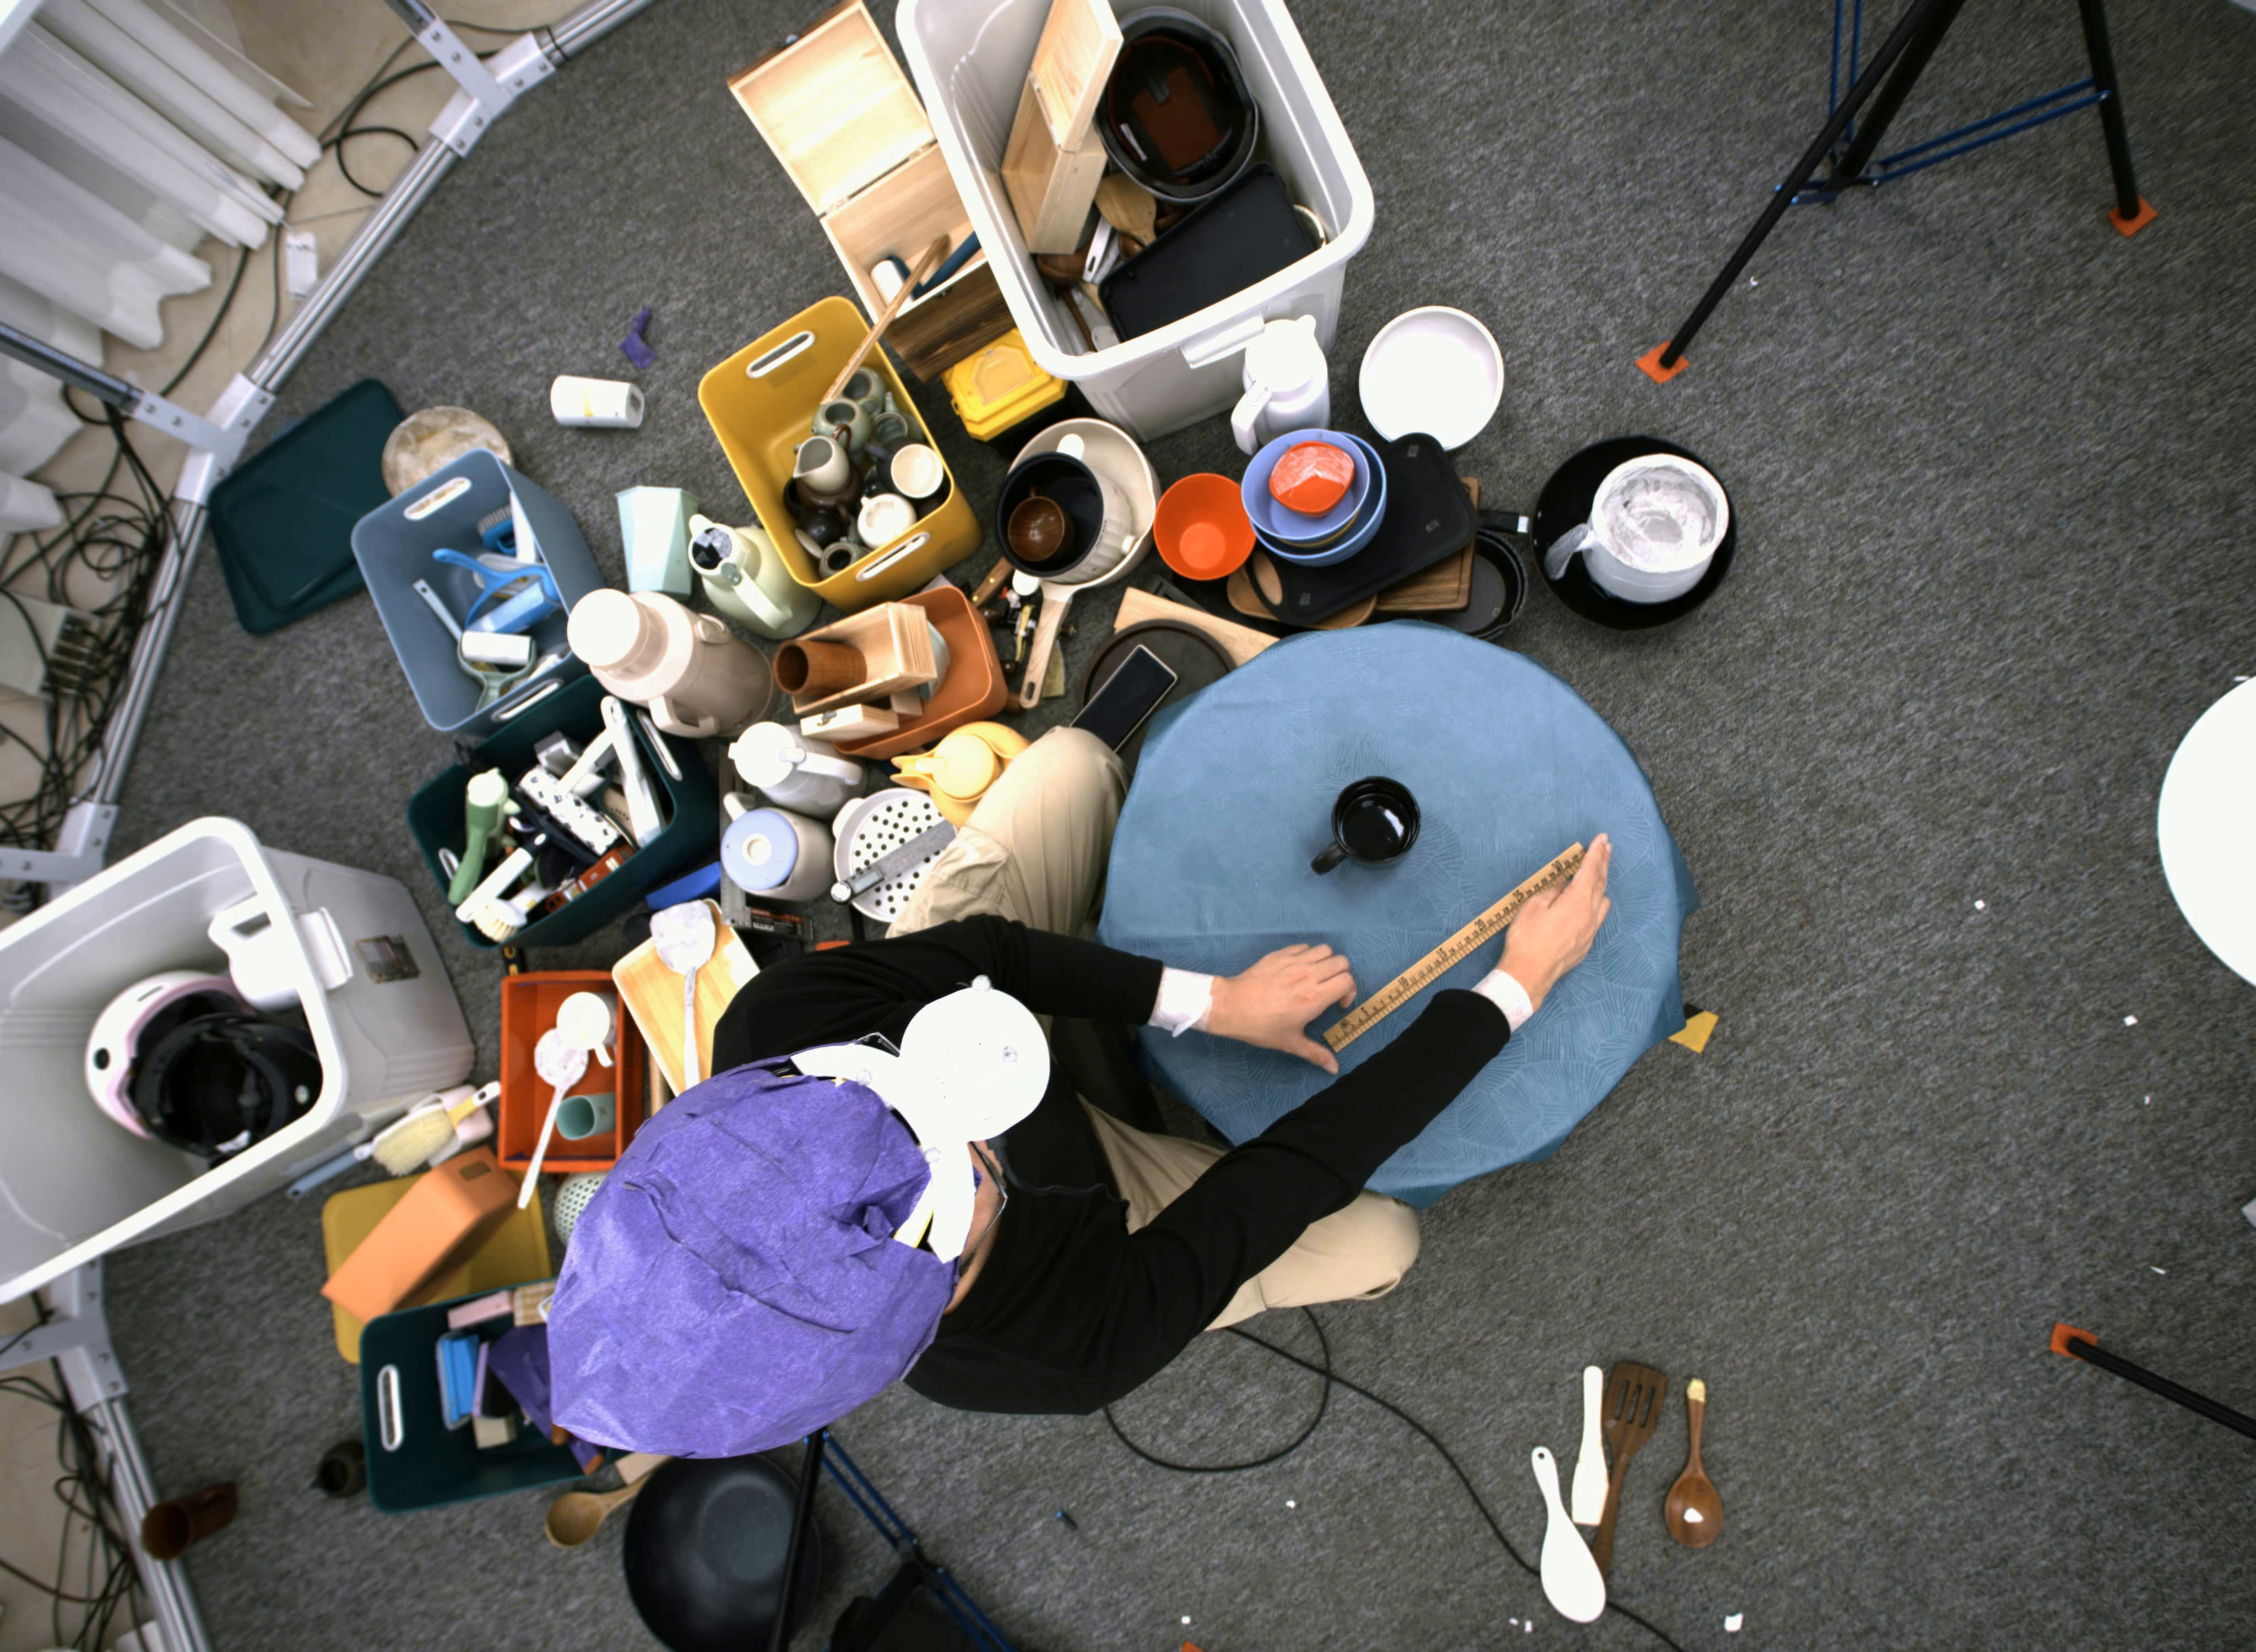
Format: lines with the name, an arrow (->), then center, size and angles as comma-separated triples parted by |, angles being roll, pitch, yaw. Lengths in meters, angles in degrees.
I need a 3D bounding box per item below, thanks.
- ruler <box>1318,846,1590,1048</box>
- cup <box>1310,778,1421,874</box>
ruler -> 0.340, 0.125, 1.439 | 0.333, 0.022, 0.027 | -36, 77, 6
cup -> 0.240, 0.008, 1.418 | 0.124, 0.105, 0.088 | -36, 82, 6
